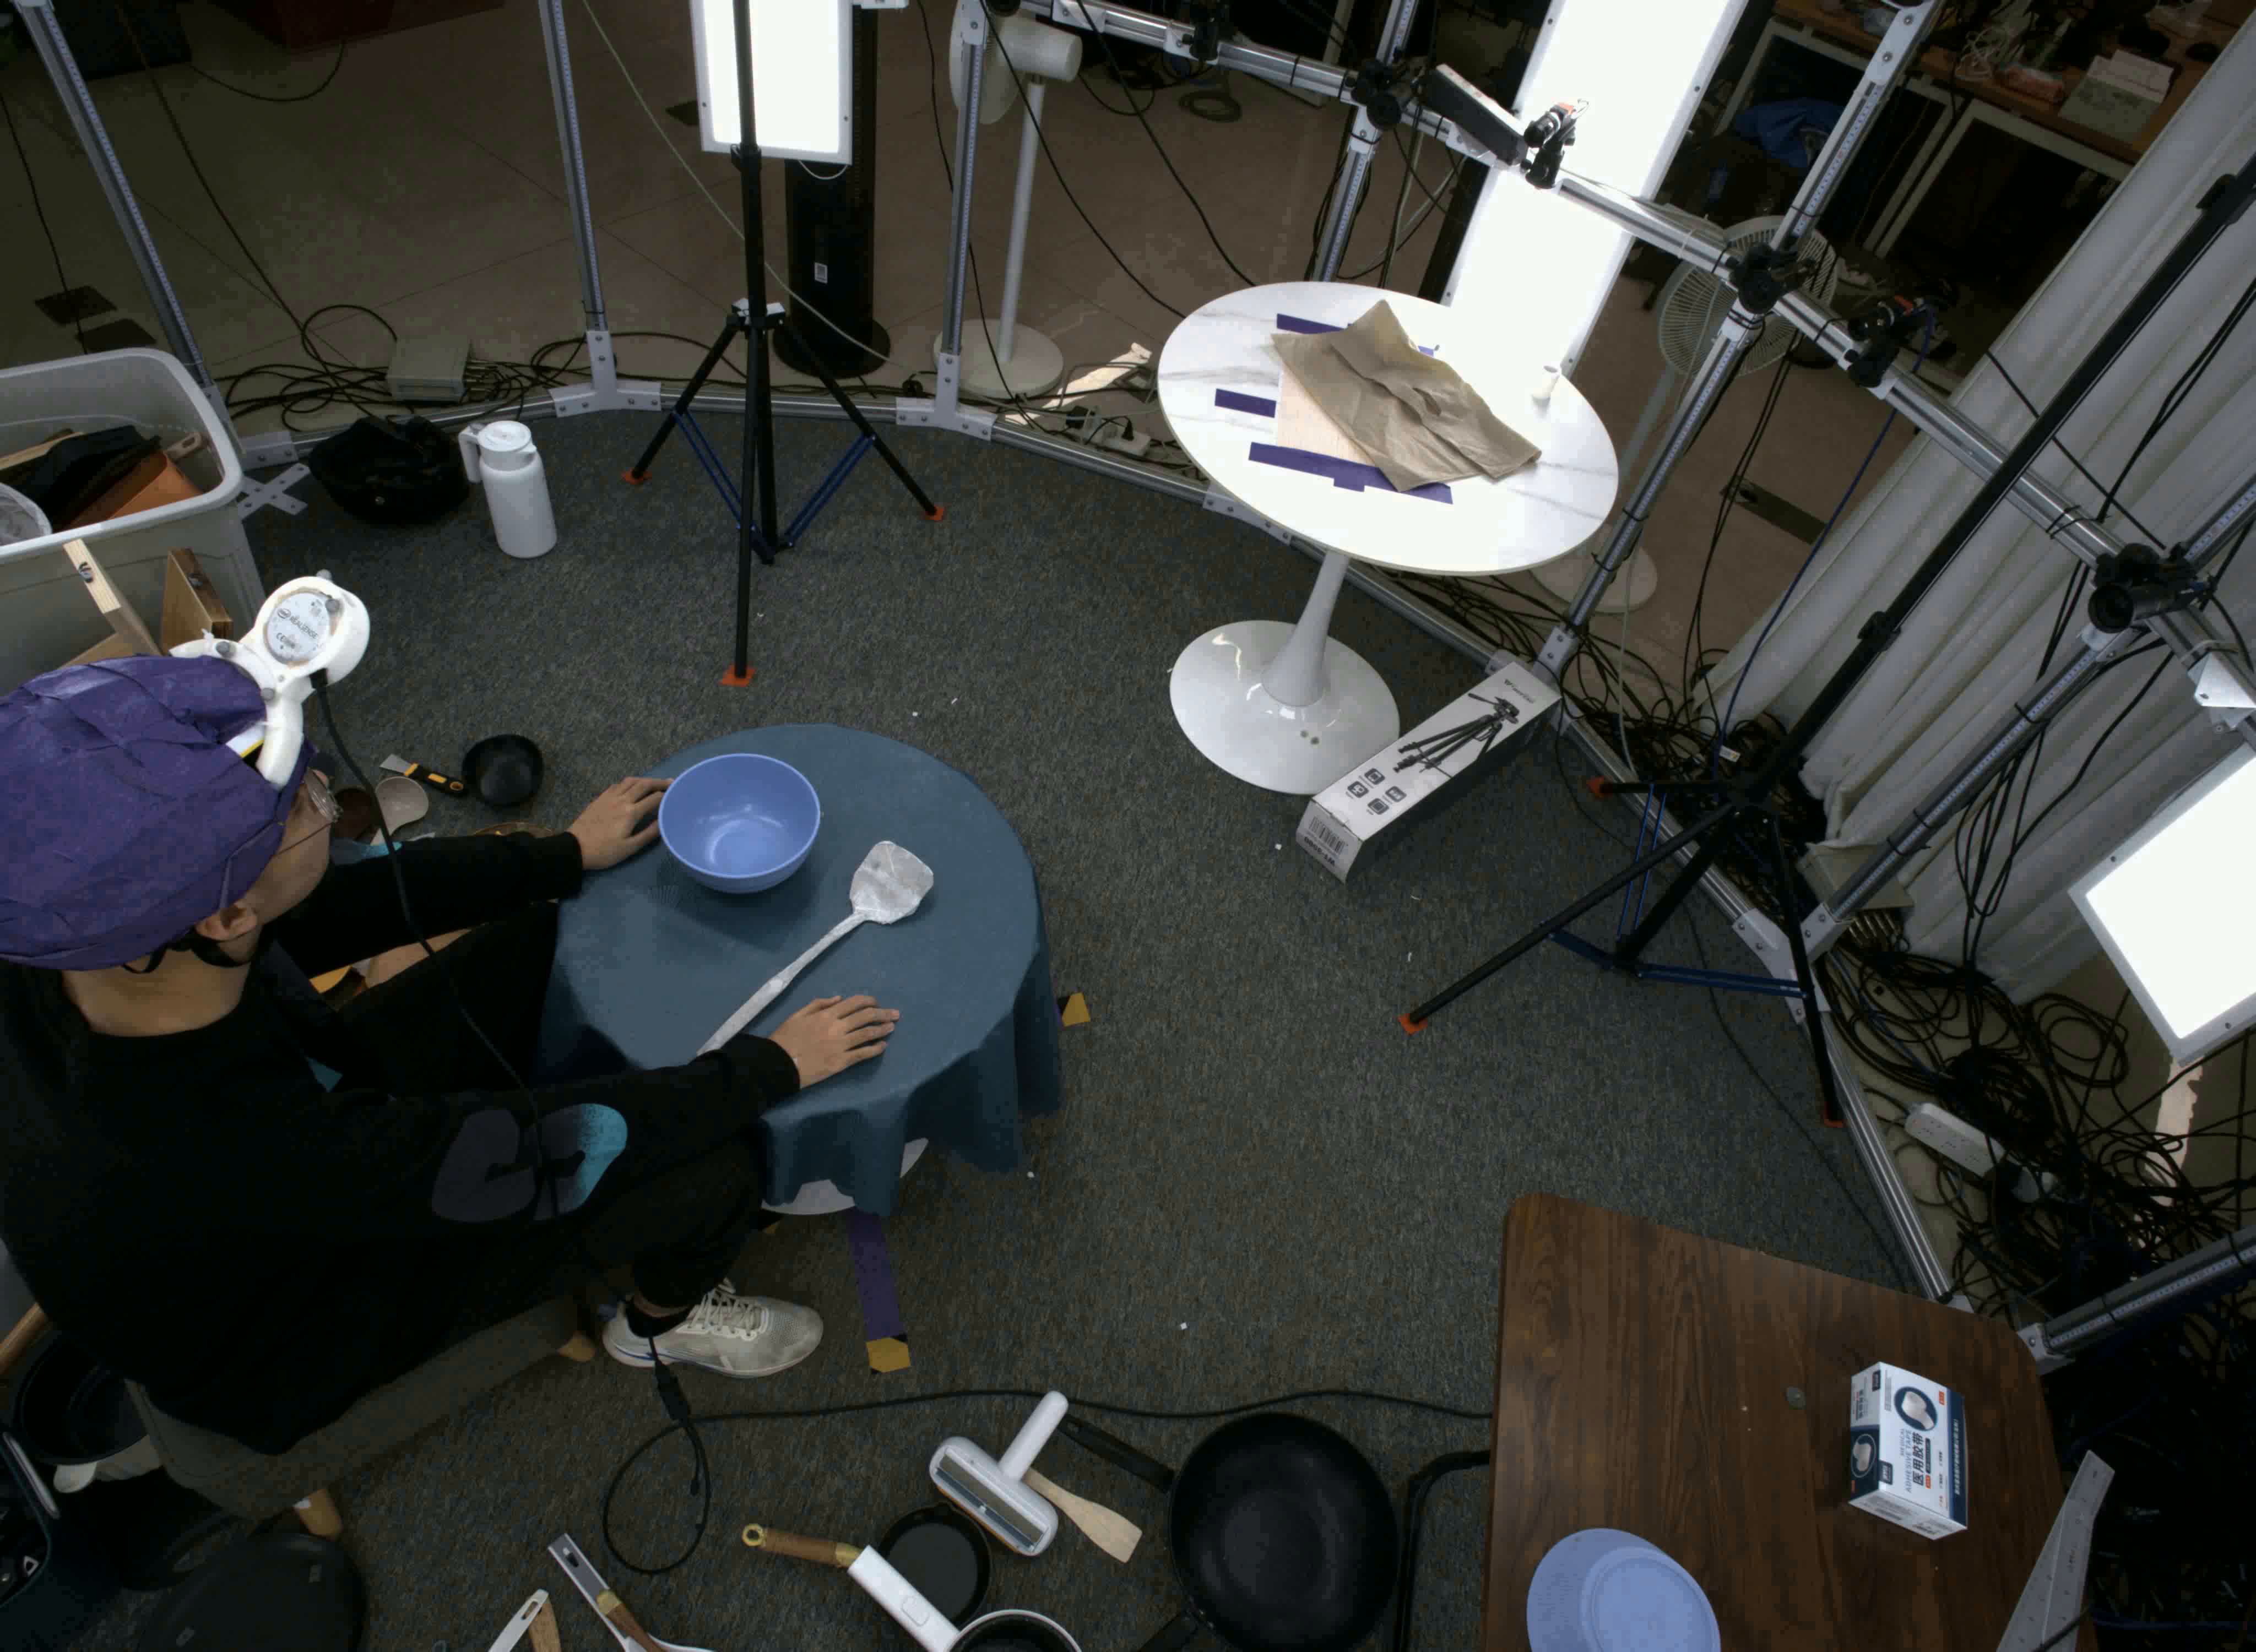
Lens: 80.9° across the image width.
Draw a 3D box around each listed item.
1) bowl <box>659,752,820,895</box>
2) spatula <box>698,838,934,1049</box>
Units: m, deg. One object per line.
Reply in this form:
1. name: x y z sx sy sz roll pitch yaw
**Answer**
1. bowl: -0.490 0.012 1.644 0.196 0.097 0.193 7 54 -9
2. spatula: -0.388 0.148 1.603 0.097 0.045 0.365 37 54 12
